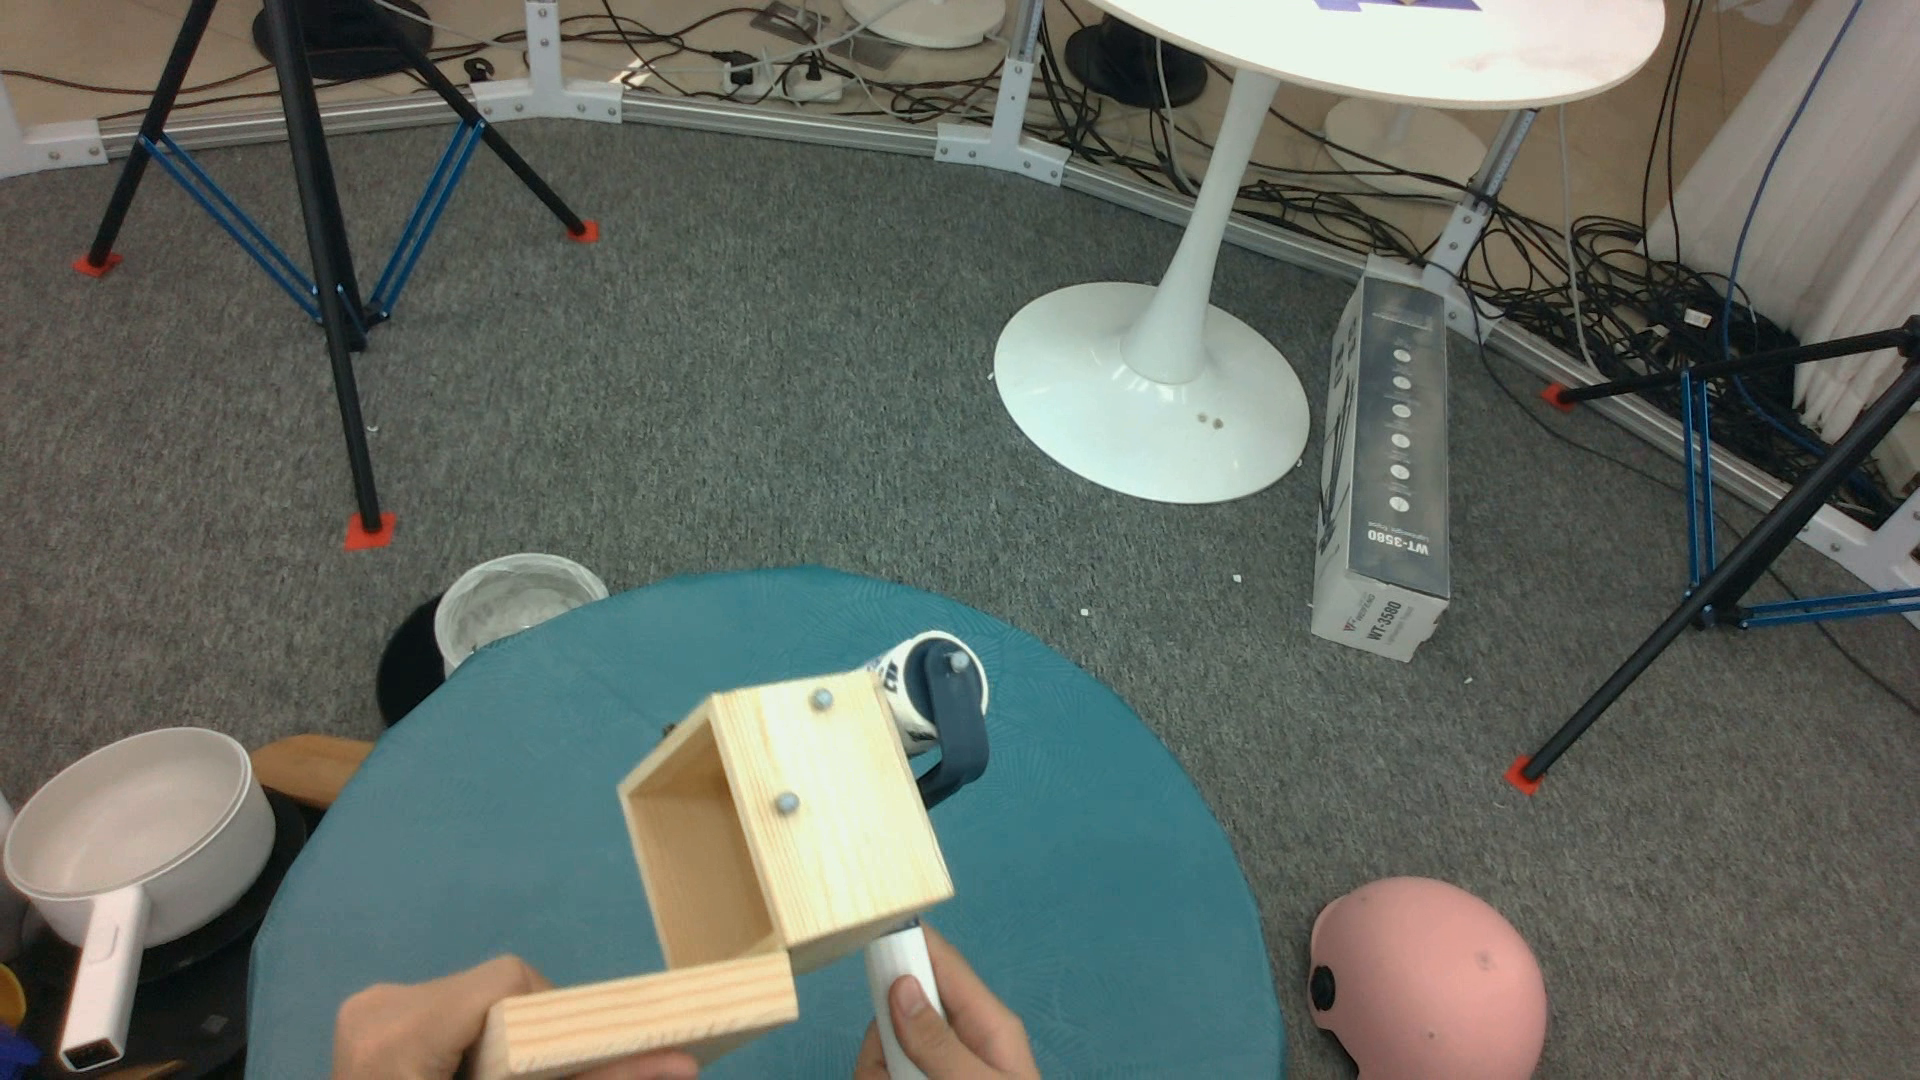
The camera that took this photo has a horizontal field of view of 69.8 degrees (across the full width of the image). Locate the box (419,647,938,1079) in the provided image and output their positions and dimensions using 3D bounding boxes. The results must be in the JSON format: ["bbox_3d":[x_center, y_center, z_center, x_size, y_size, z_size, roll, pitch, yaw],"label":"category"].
[{"bbox_3d":[-0.118,0.129,0.534,0.185,0.102,0.134,-8,65,-39],"label":"box"}]

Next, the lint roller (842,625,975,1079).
[{"bbox_3d":[-0.034,0.179,0.612,0.050,0.175,0.247,-4,72,-41],"label":"lint roller"}]
